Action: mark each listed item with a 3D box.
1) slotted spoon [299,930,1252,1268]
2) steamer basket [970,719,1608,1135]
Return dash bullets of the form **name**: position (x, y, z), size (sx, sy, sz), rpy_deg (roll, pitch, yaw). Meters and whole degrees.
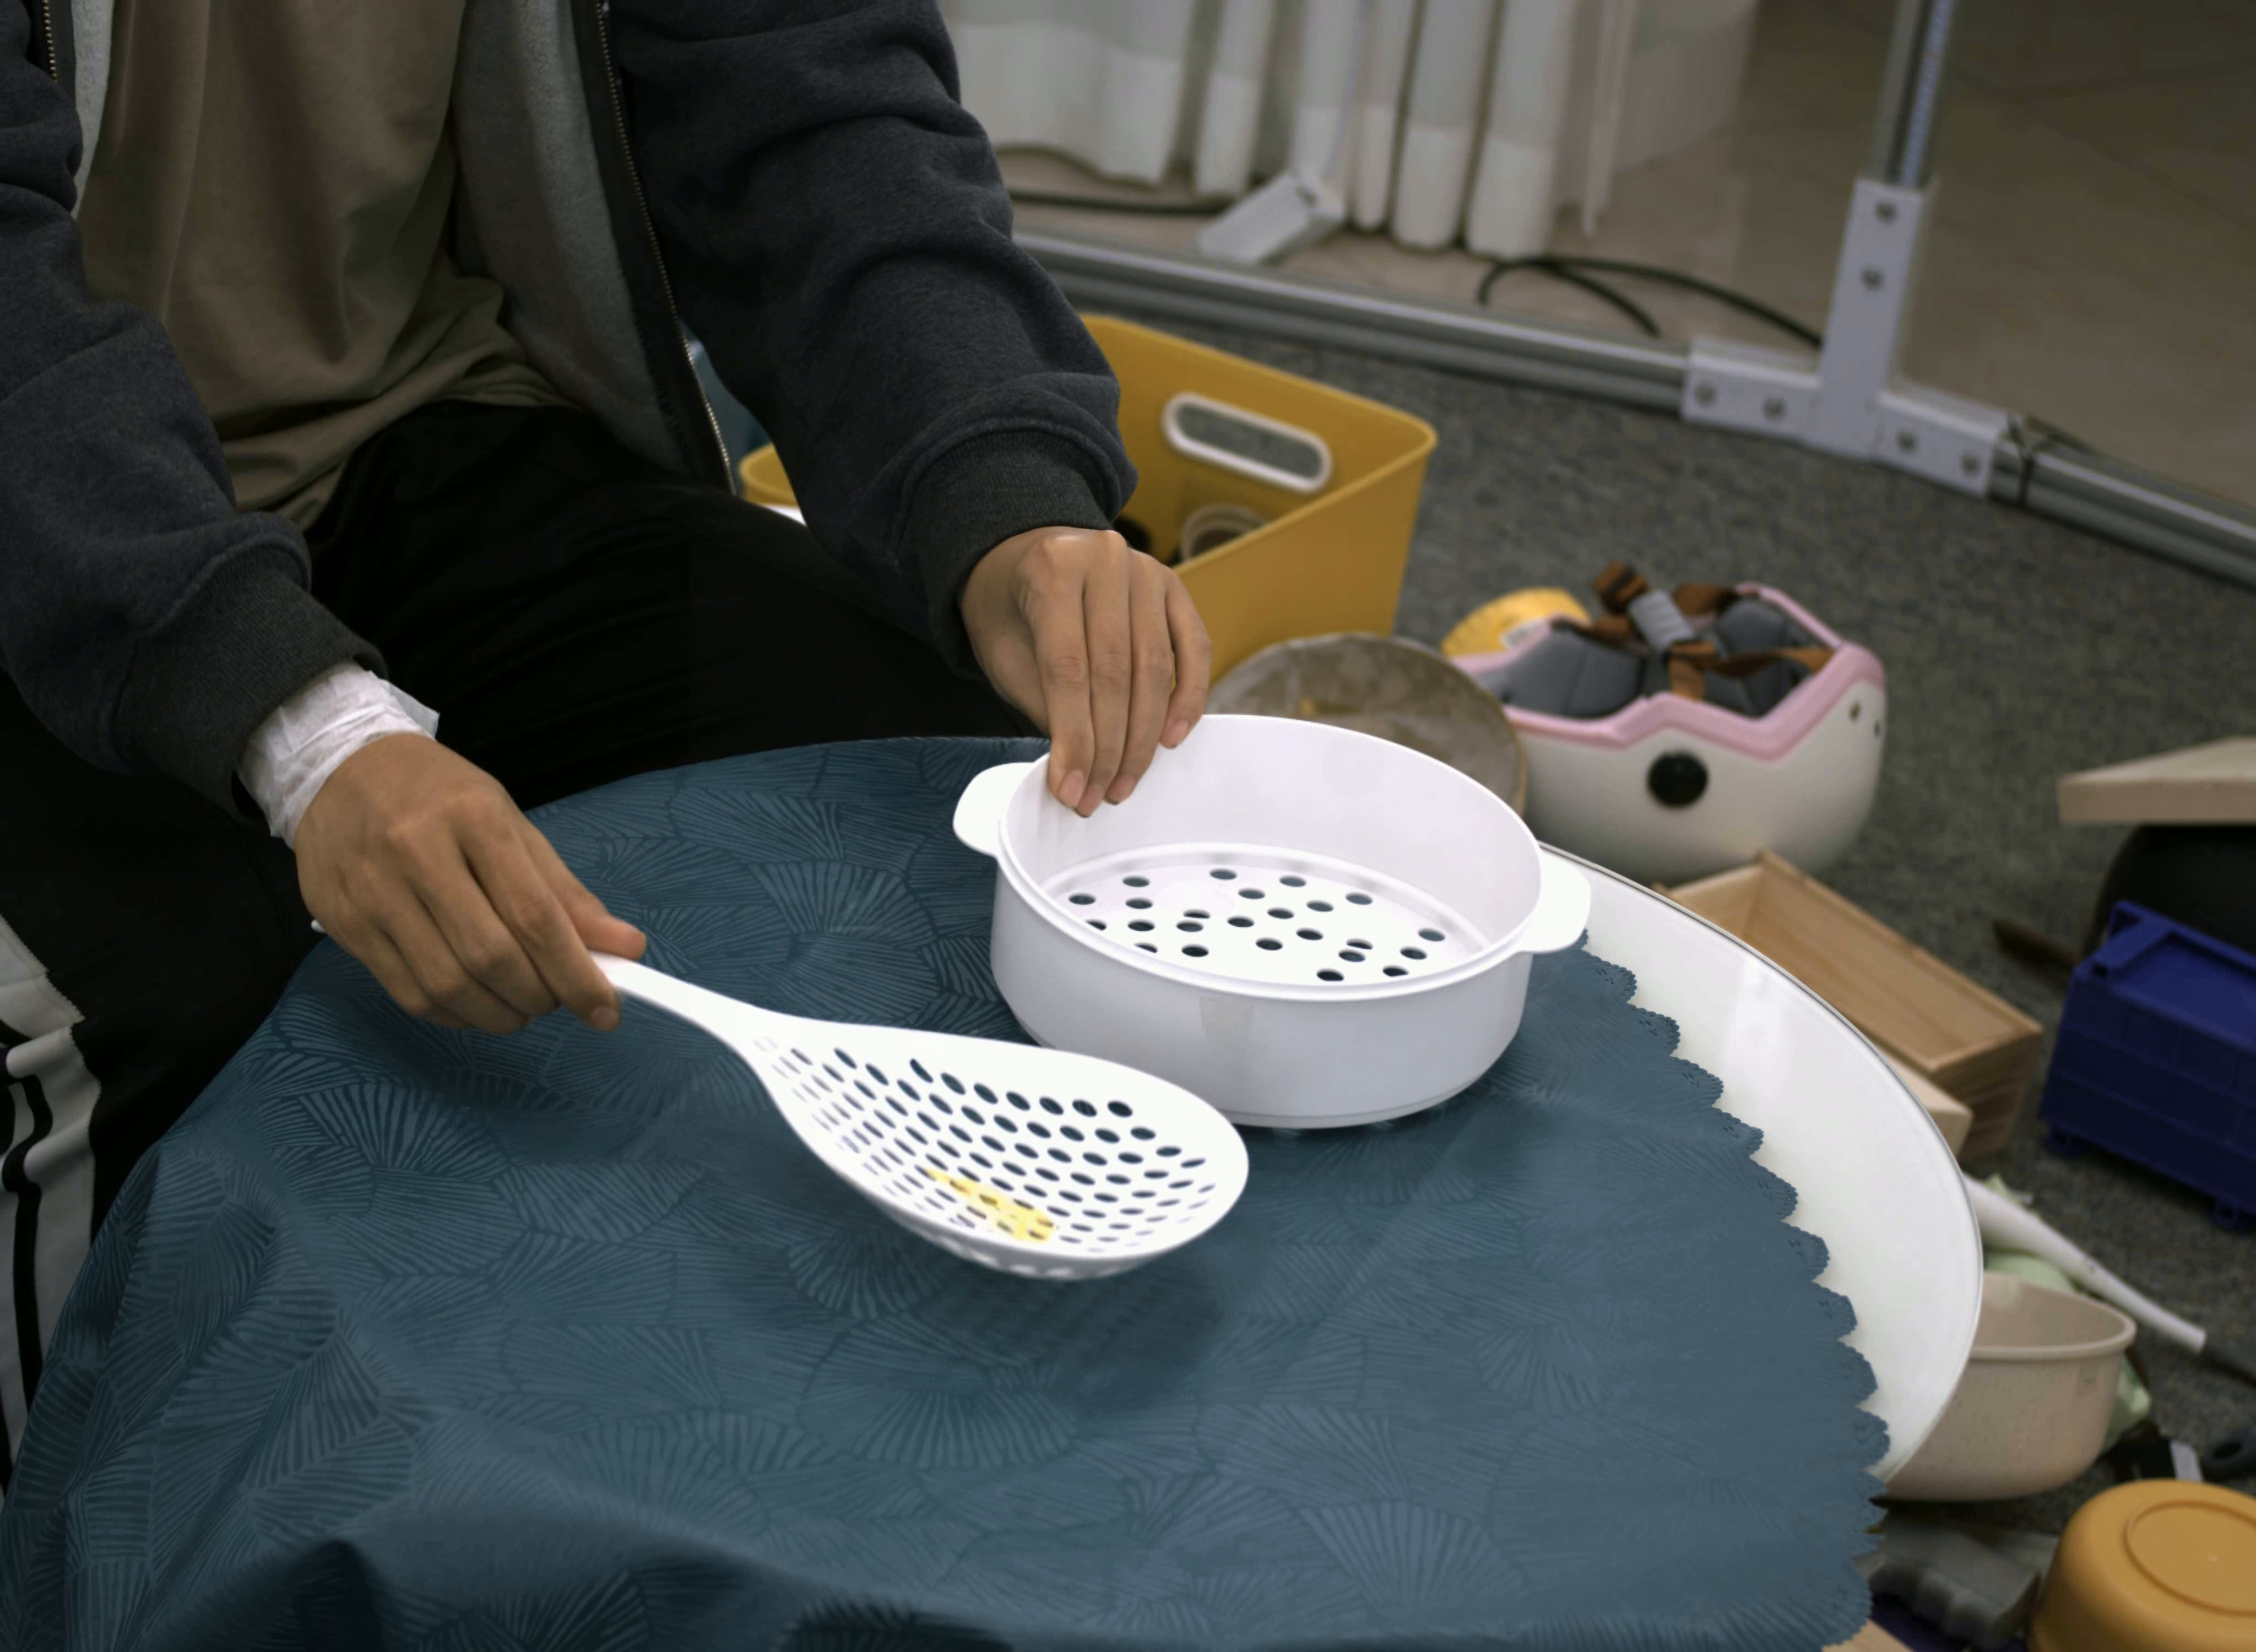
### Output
- **slotted spoon**: position (-0.125, 0.077, 1.780), size (0.349, 0.050, 0.136), rpy_deg (22, 30, 20)
- **steamer basket**: position (0.054, 0.036, 1.908), size (0.230, 0.069, 0.202), rpy_deg (12, 28, 6)
